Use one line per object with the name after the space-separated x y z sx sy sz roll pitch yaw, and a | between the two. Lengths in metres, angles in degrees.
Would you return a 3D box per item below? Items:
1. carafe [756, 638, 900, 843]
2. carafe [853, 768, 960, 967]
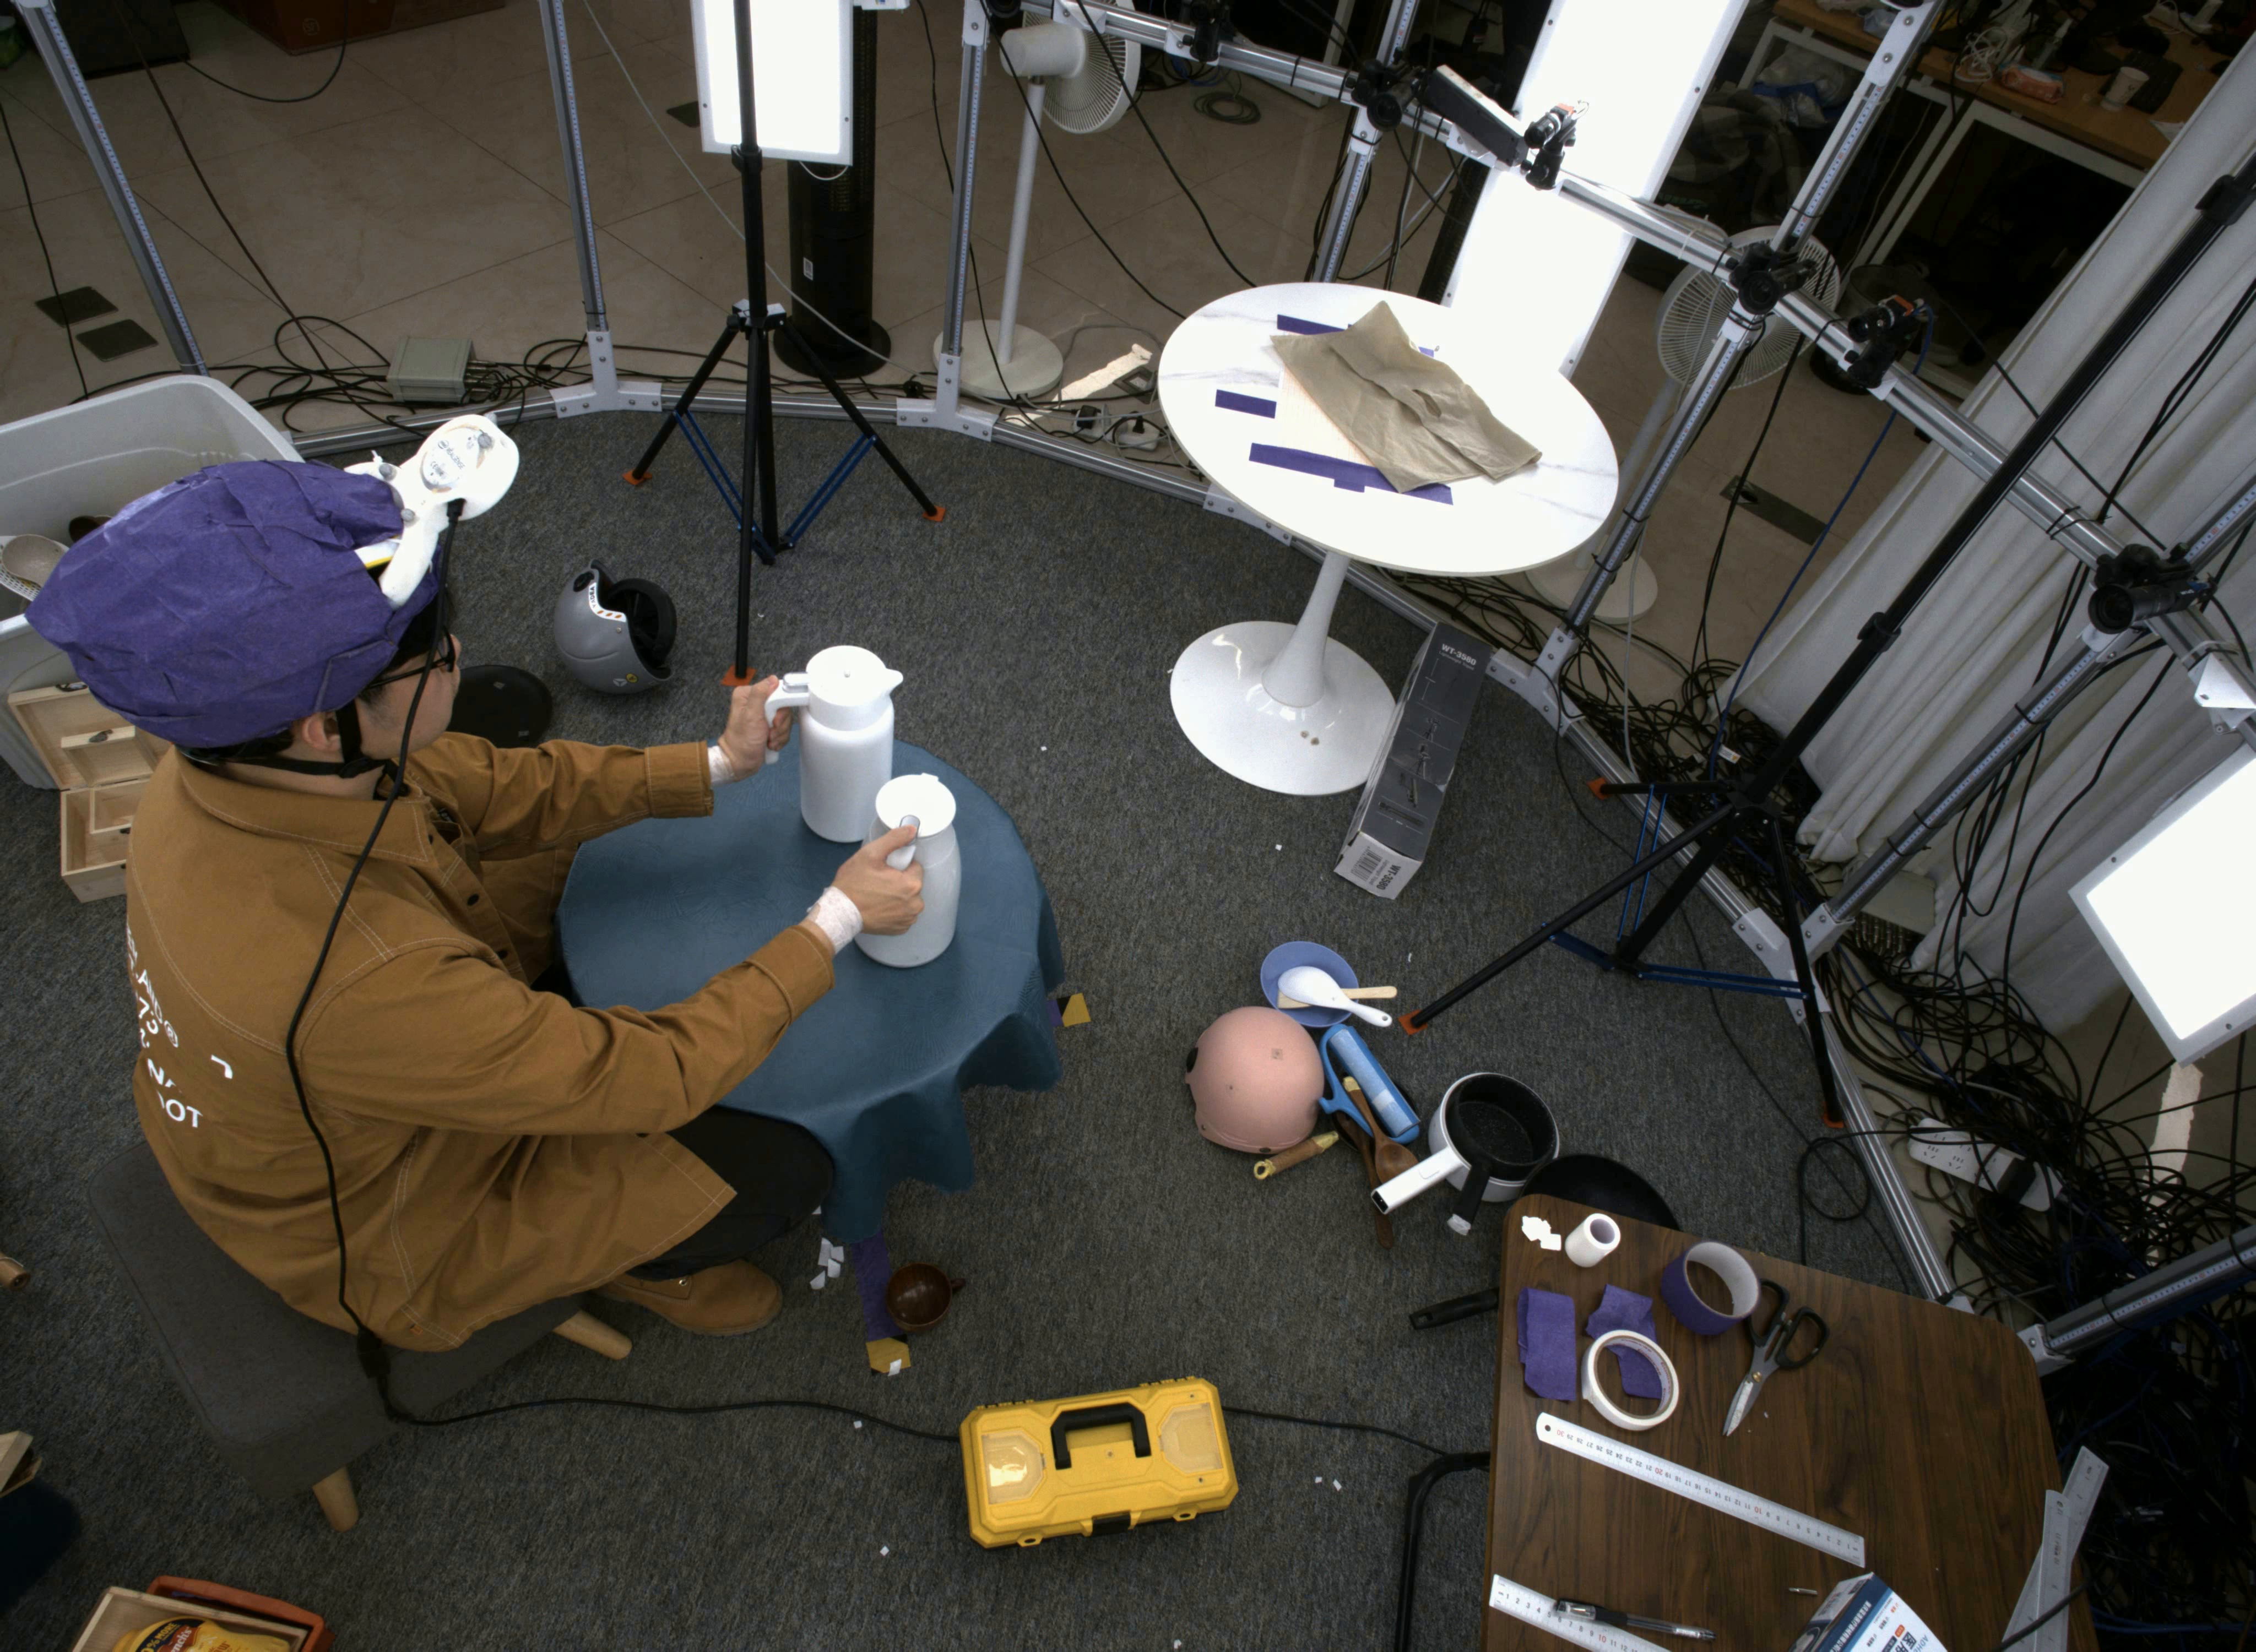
-0.376 -0.101 1.637 0.173 0.274 0.121 -7 56 -17 | carafe
-0.267 0.059 1.554 0.131 0.254 0.165 14 50 -2 | carafe
